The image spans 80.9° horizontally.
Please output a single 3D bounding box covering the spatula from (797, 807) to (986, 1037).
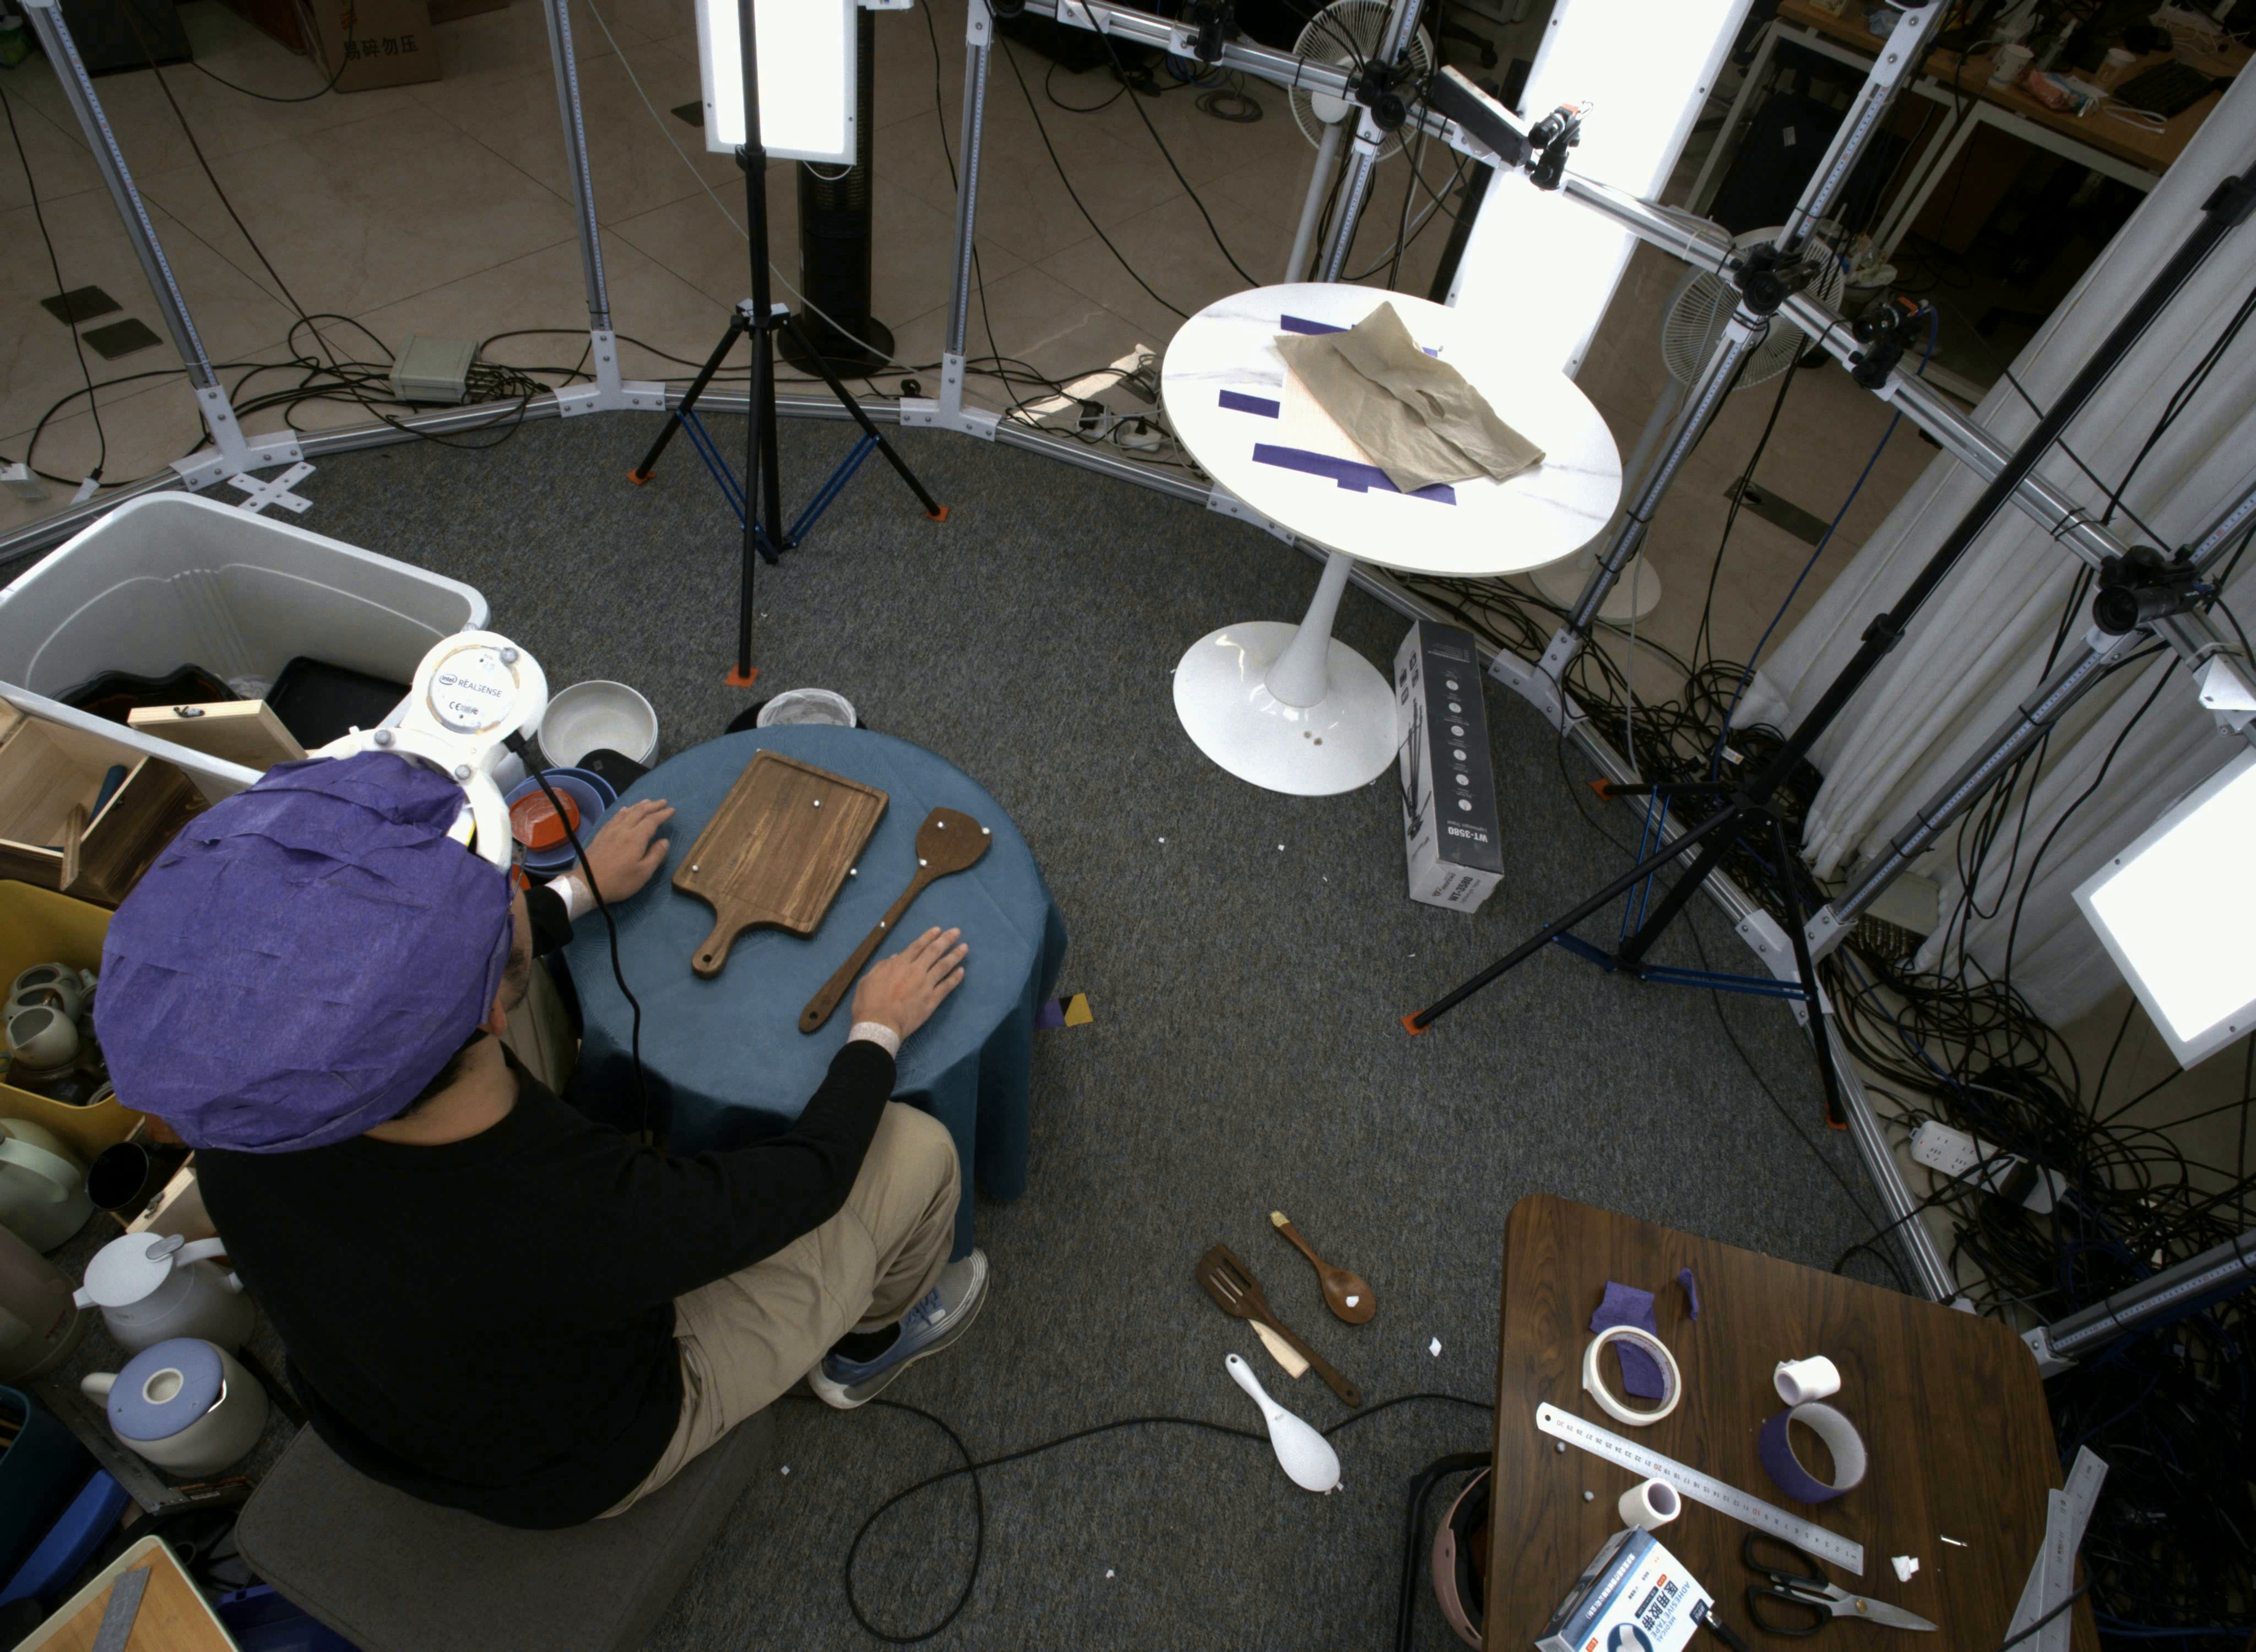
[{"bbox_3d":[-0.306,0.116,1.654,0.094,0.016,0.384,27,52,7],"label":"spatula"}]

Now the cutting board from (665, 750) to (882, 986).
[{"bbox_3d":[-0.469,0.054,1.653,0.199,0.023,0.348,20,51,1],"label":"cutting board"}]
